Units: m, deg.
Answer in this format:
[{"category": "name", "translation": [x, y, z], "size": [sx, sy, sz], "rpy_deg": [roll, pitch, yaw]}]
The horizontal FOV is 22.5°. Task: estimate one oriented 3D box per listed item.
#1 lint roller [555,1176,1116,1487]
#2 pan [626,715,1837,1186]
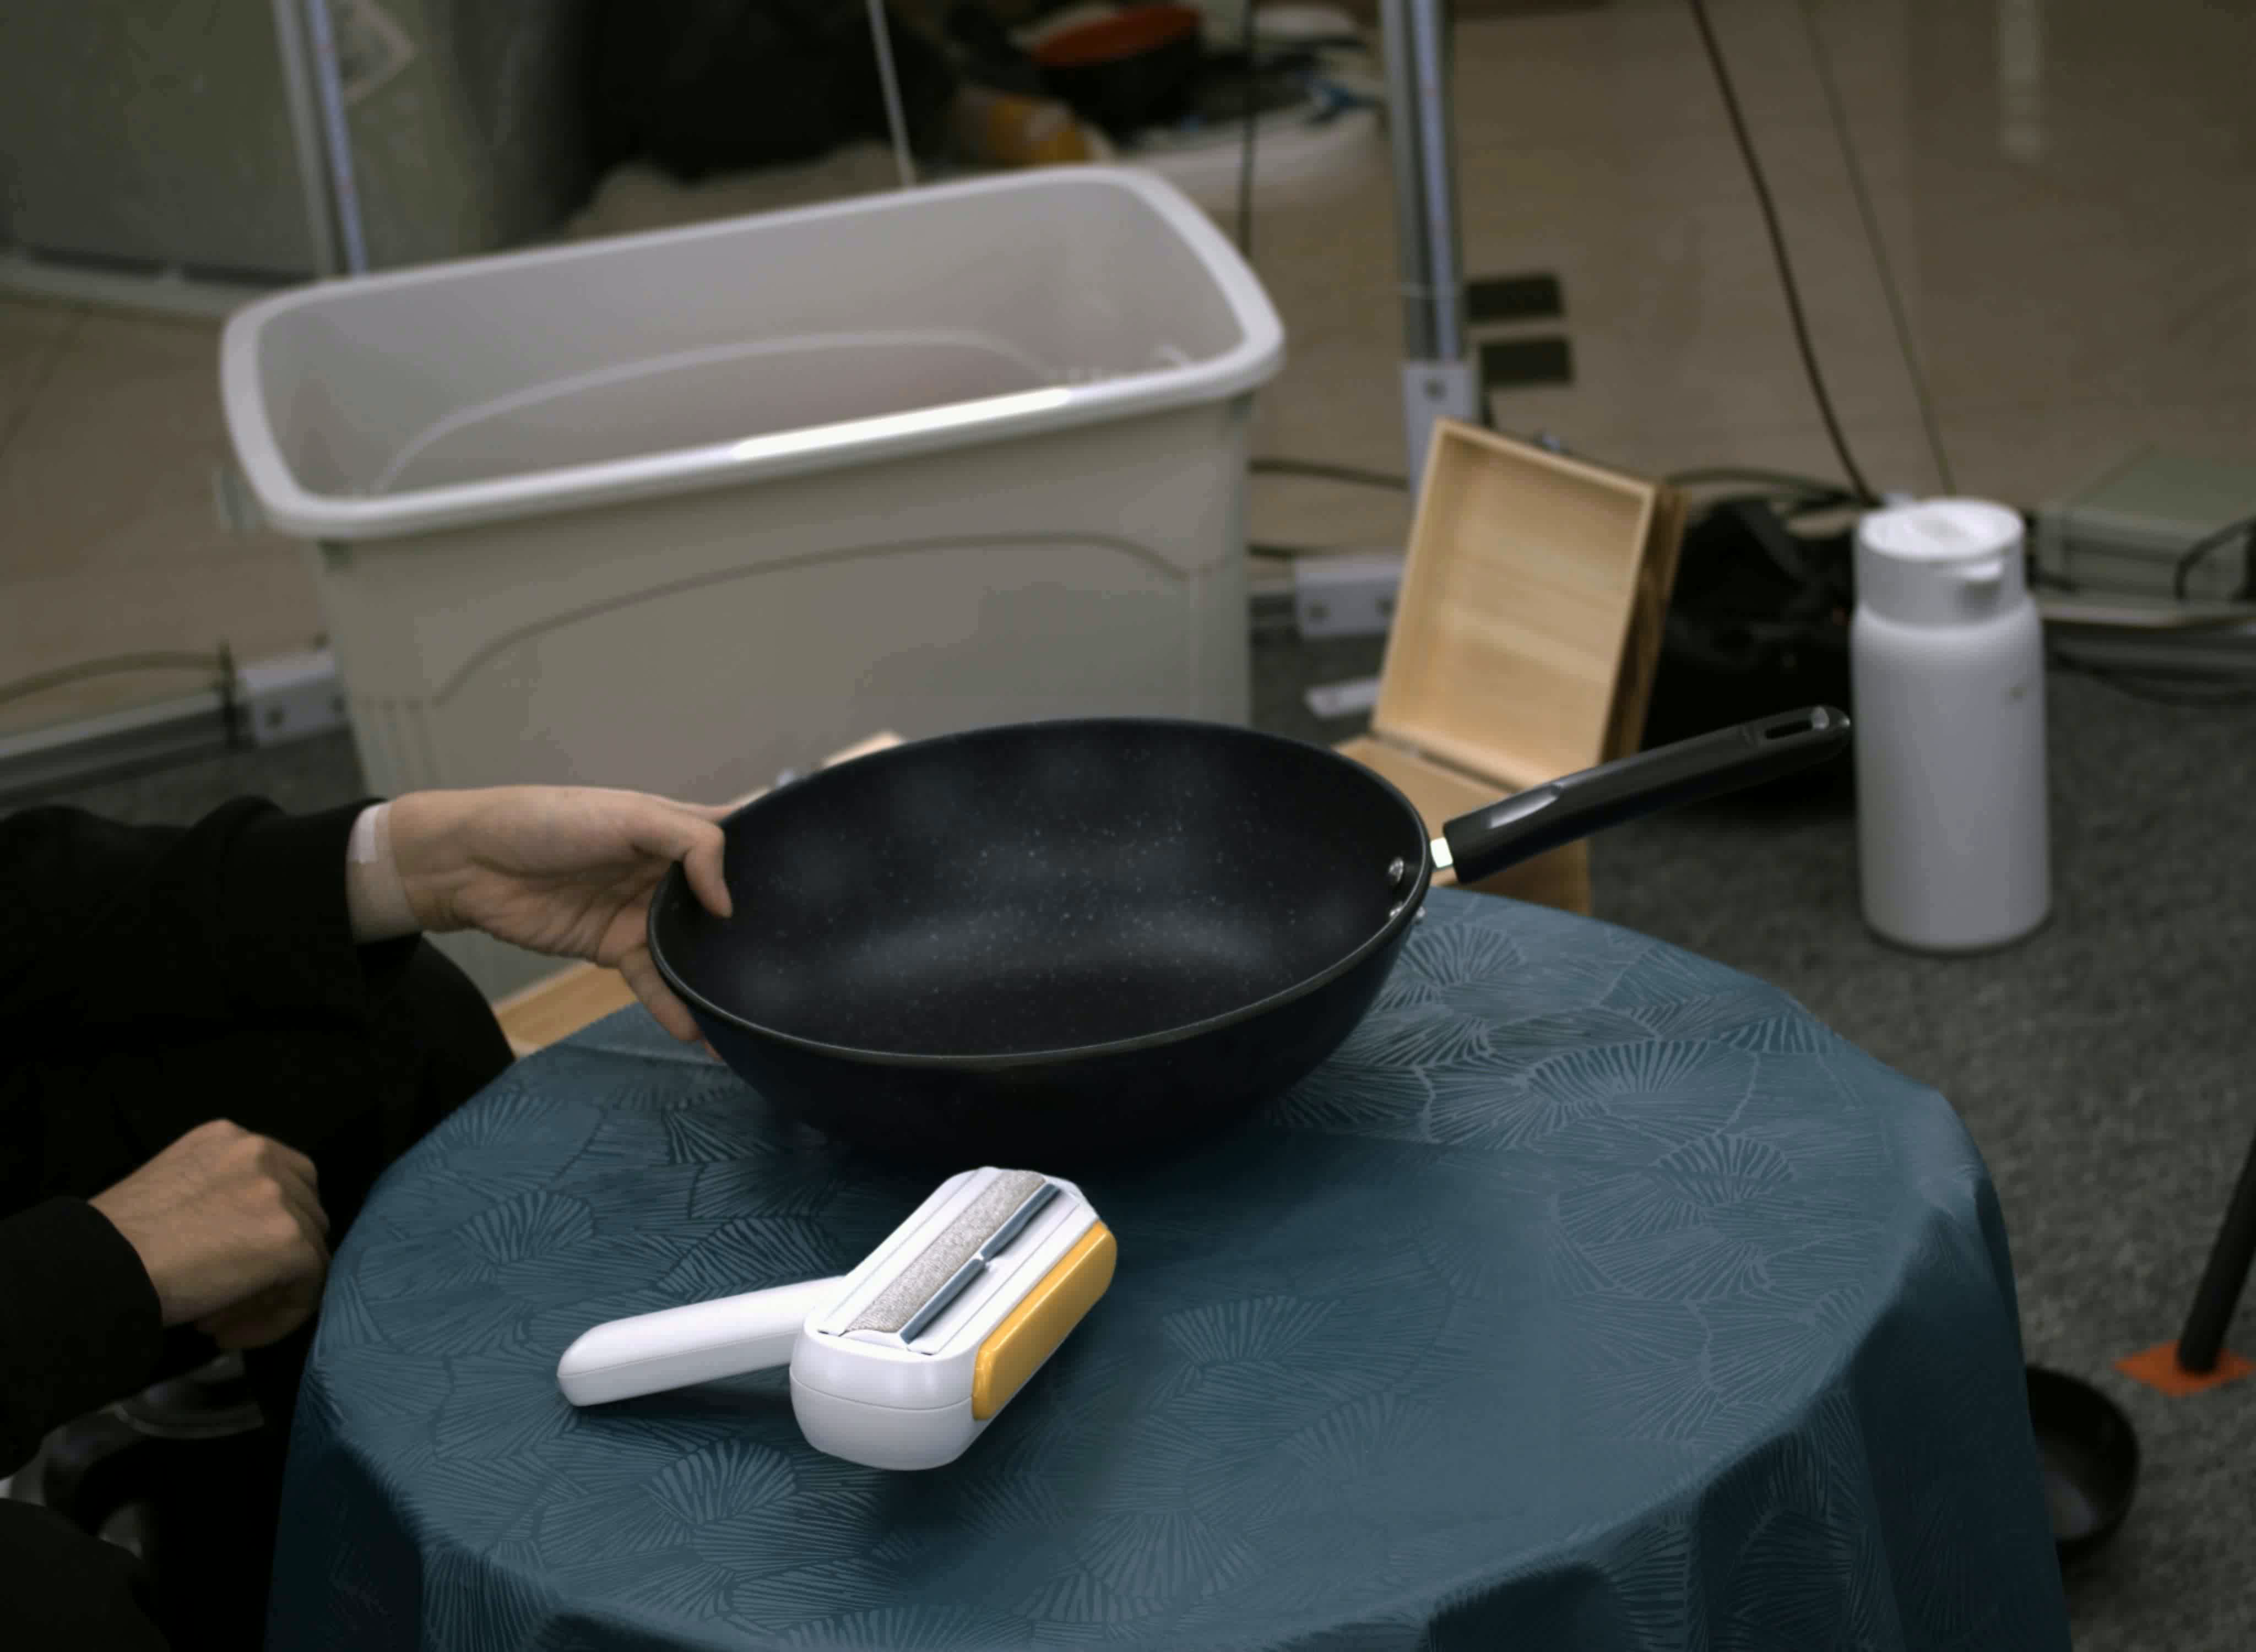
[{"category": "lint roller", "translation": [-0.117, 0.178, 2.008], "size": [0.192, 0.075, 0.190], "rpy_deg": [2, 21, 22]}, {"category": "pan", "translation": [0.044, 0.039, 2.219], "size": [0.476, 0.113, 0.305], "rpy_deg": [-7, 27, -2]}]
